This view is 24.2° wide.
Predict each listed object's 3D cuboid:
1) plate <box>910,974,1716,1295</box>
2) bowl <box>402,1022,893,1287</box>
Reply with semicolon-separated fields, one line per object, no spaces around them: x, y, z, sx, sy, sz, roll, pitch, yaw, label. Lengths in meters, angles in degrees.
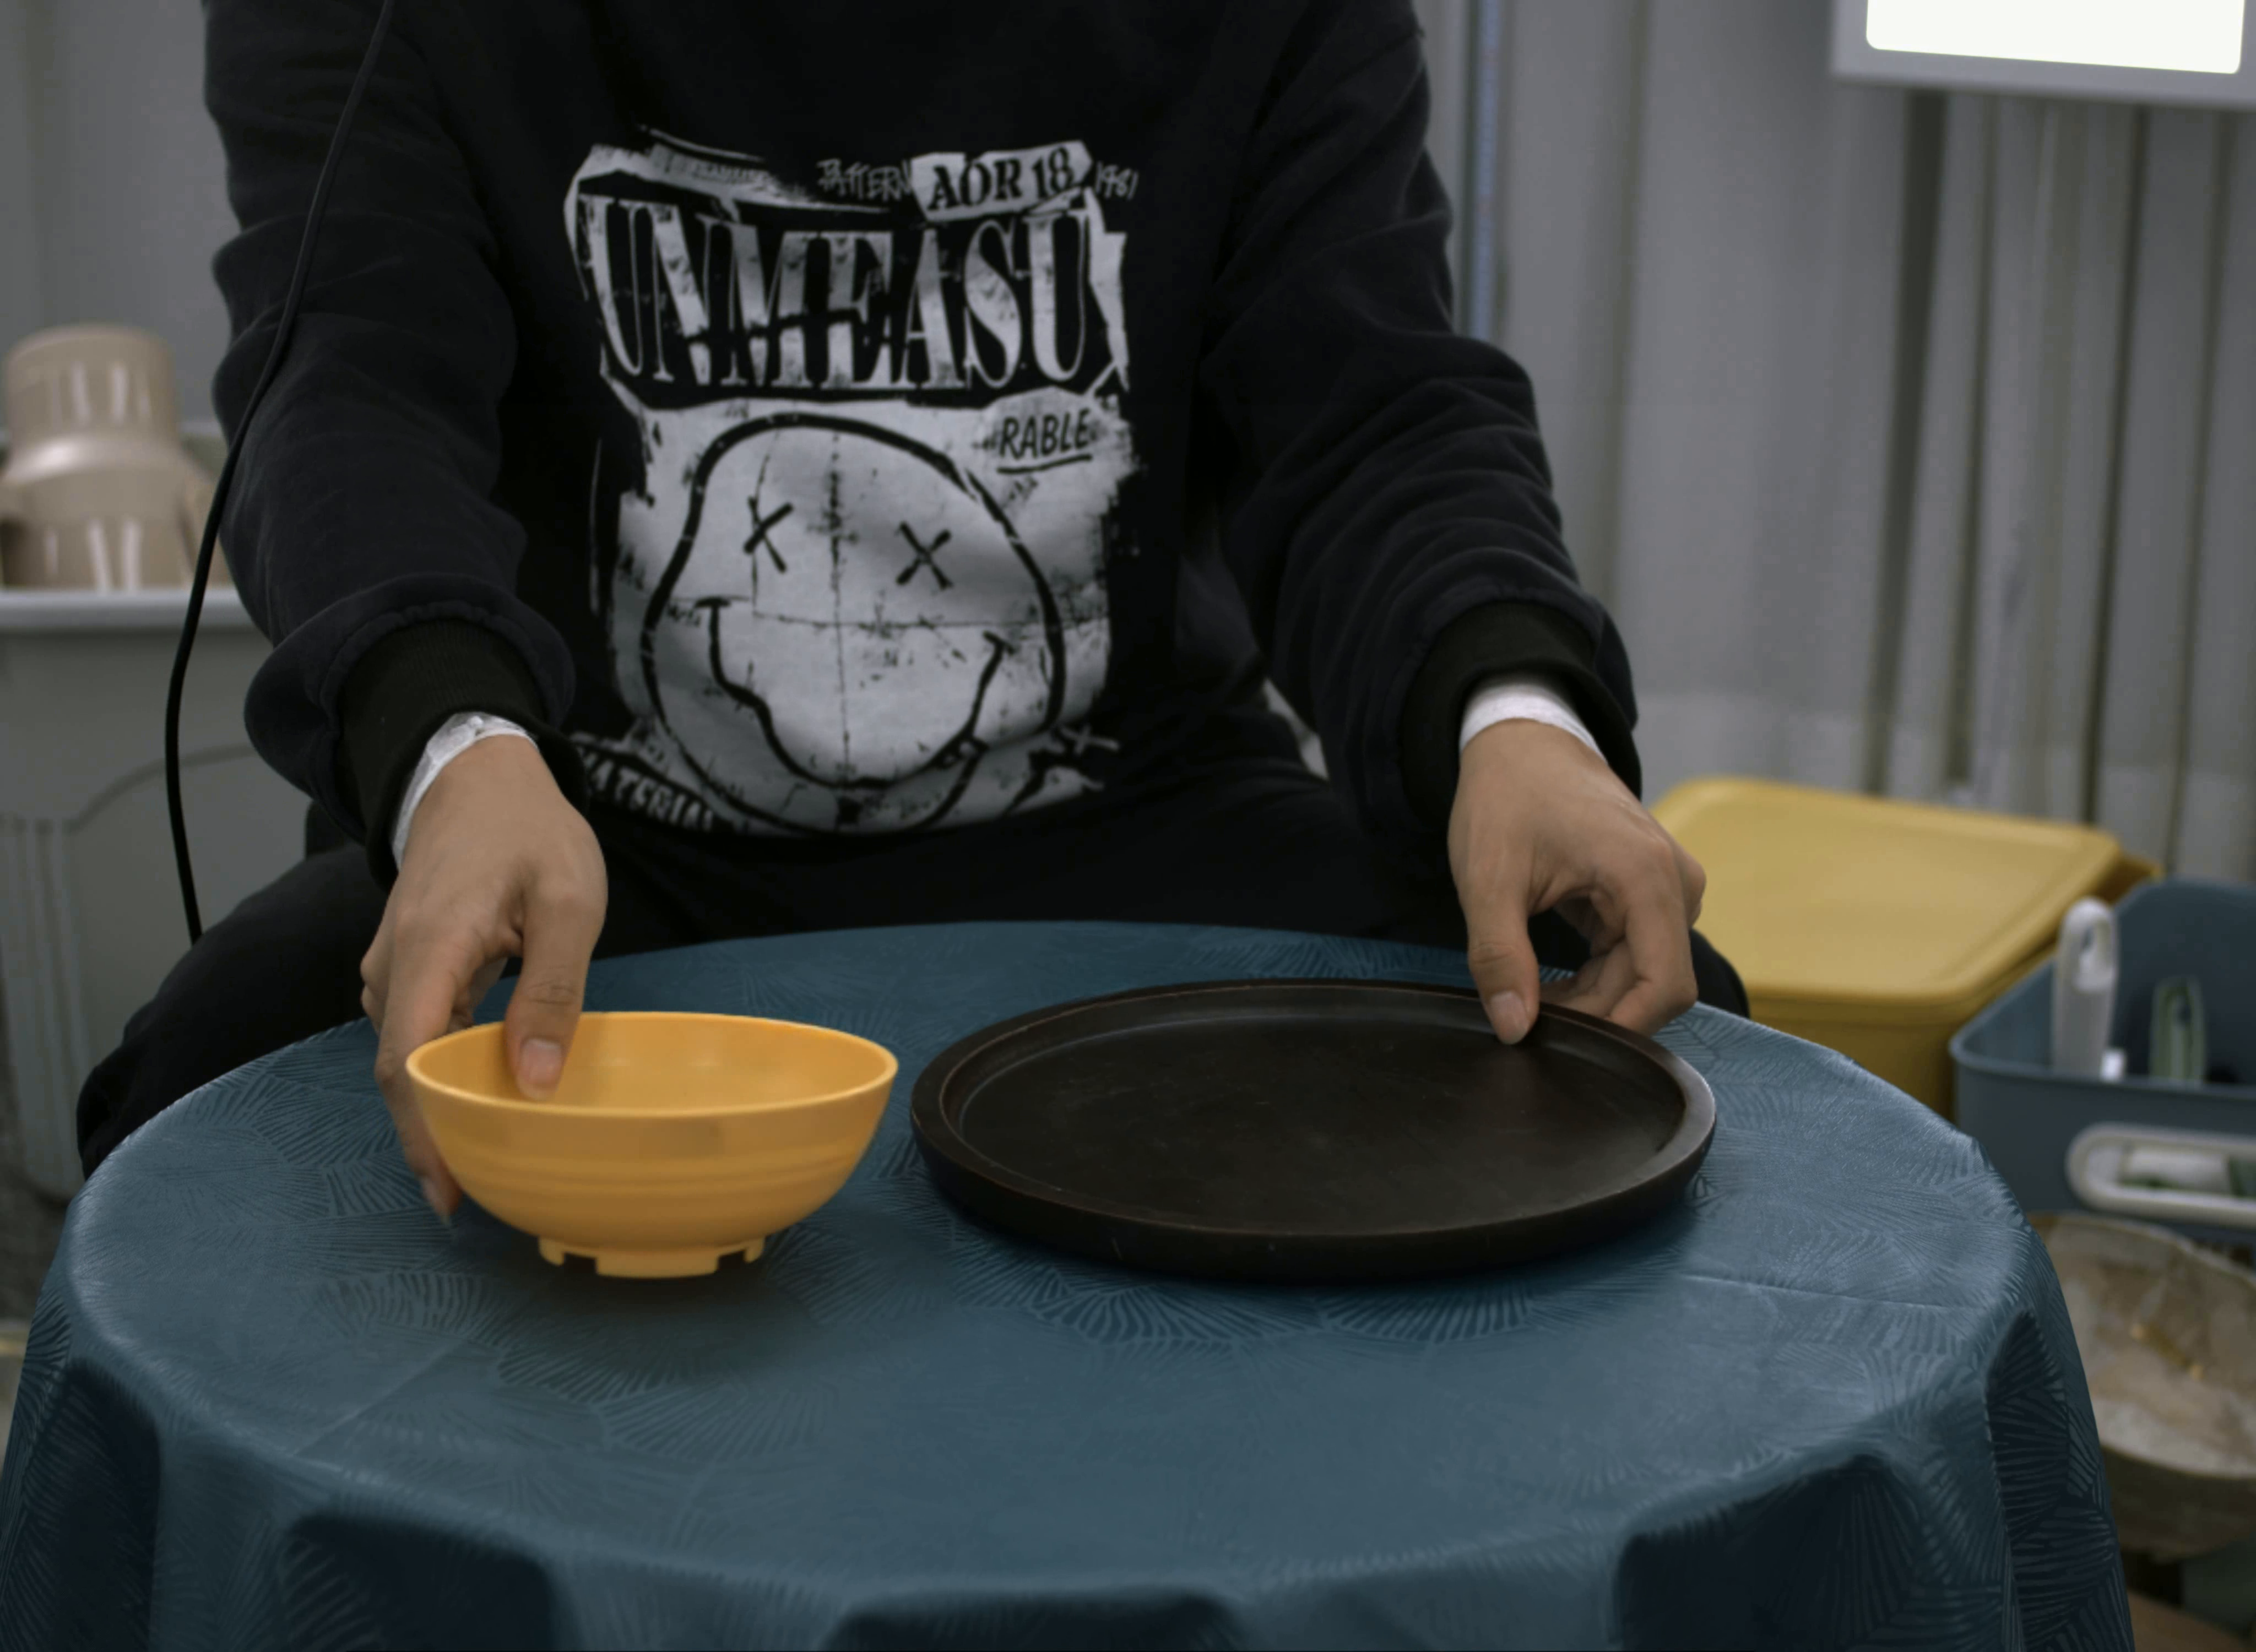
0.058;0.094;1.651;0.254;0.029;0.253;-1;16;1;plate
-0.142;0.100;1.553;0.145;0.060;0.145;2;9;0;bowl
